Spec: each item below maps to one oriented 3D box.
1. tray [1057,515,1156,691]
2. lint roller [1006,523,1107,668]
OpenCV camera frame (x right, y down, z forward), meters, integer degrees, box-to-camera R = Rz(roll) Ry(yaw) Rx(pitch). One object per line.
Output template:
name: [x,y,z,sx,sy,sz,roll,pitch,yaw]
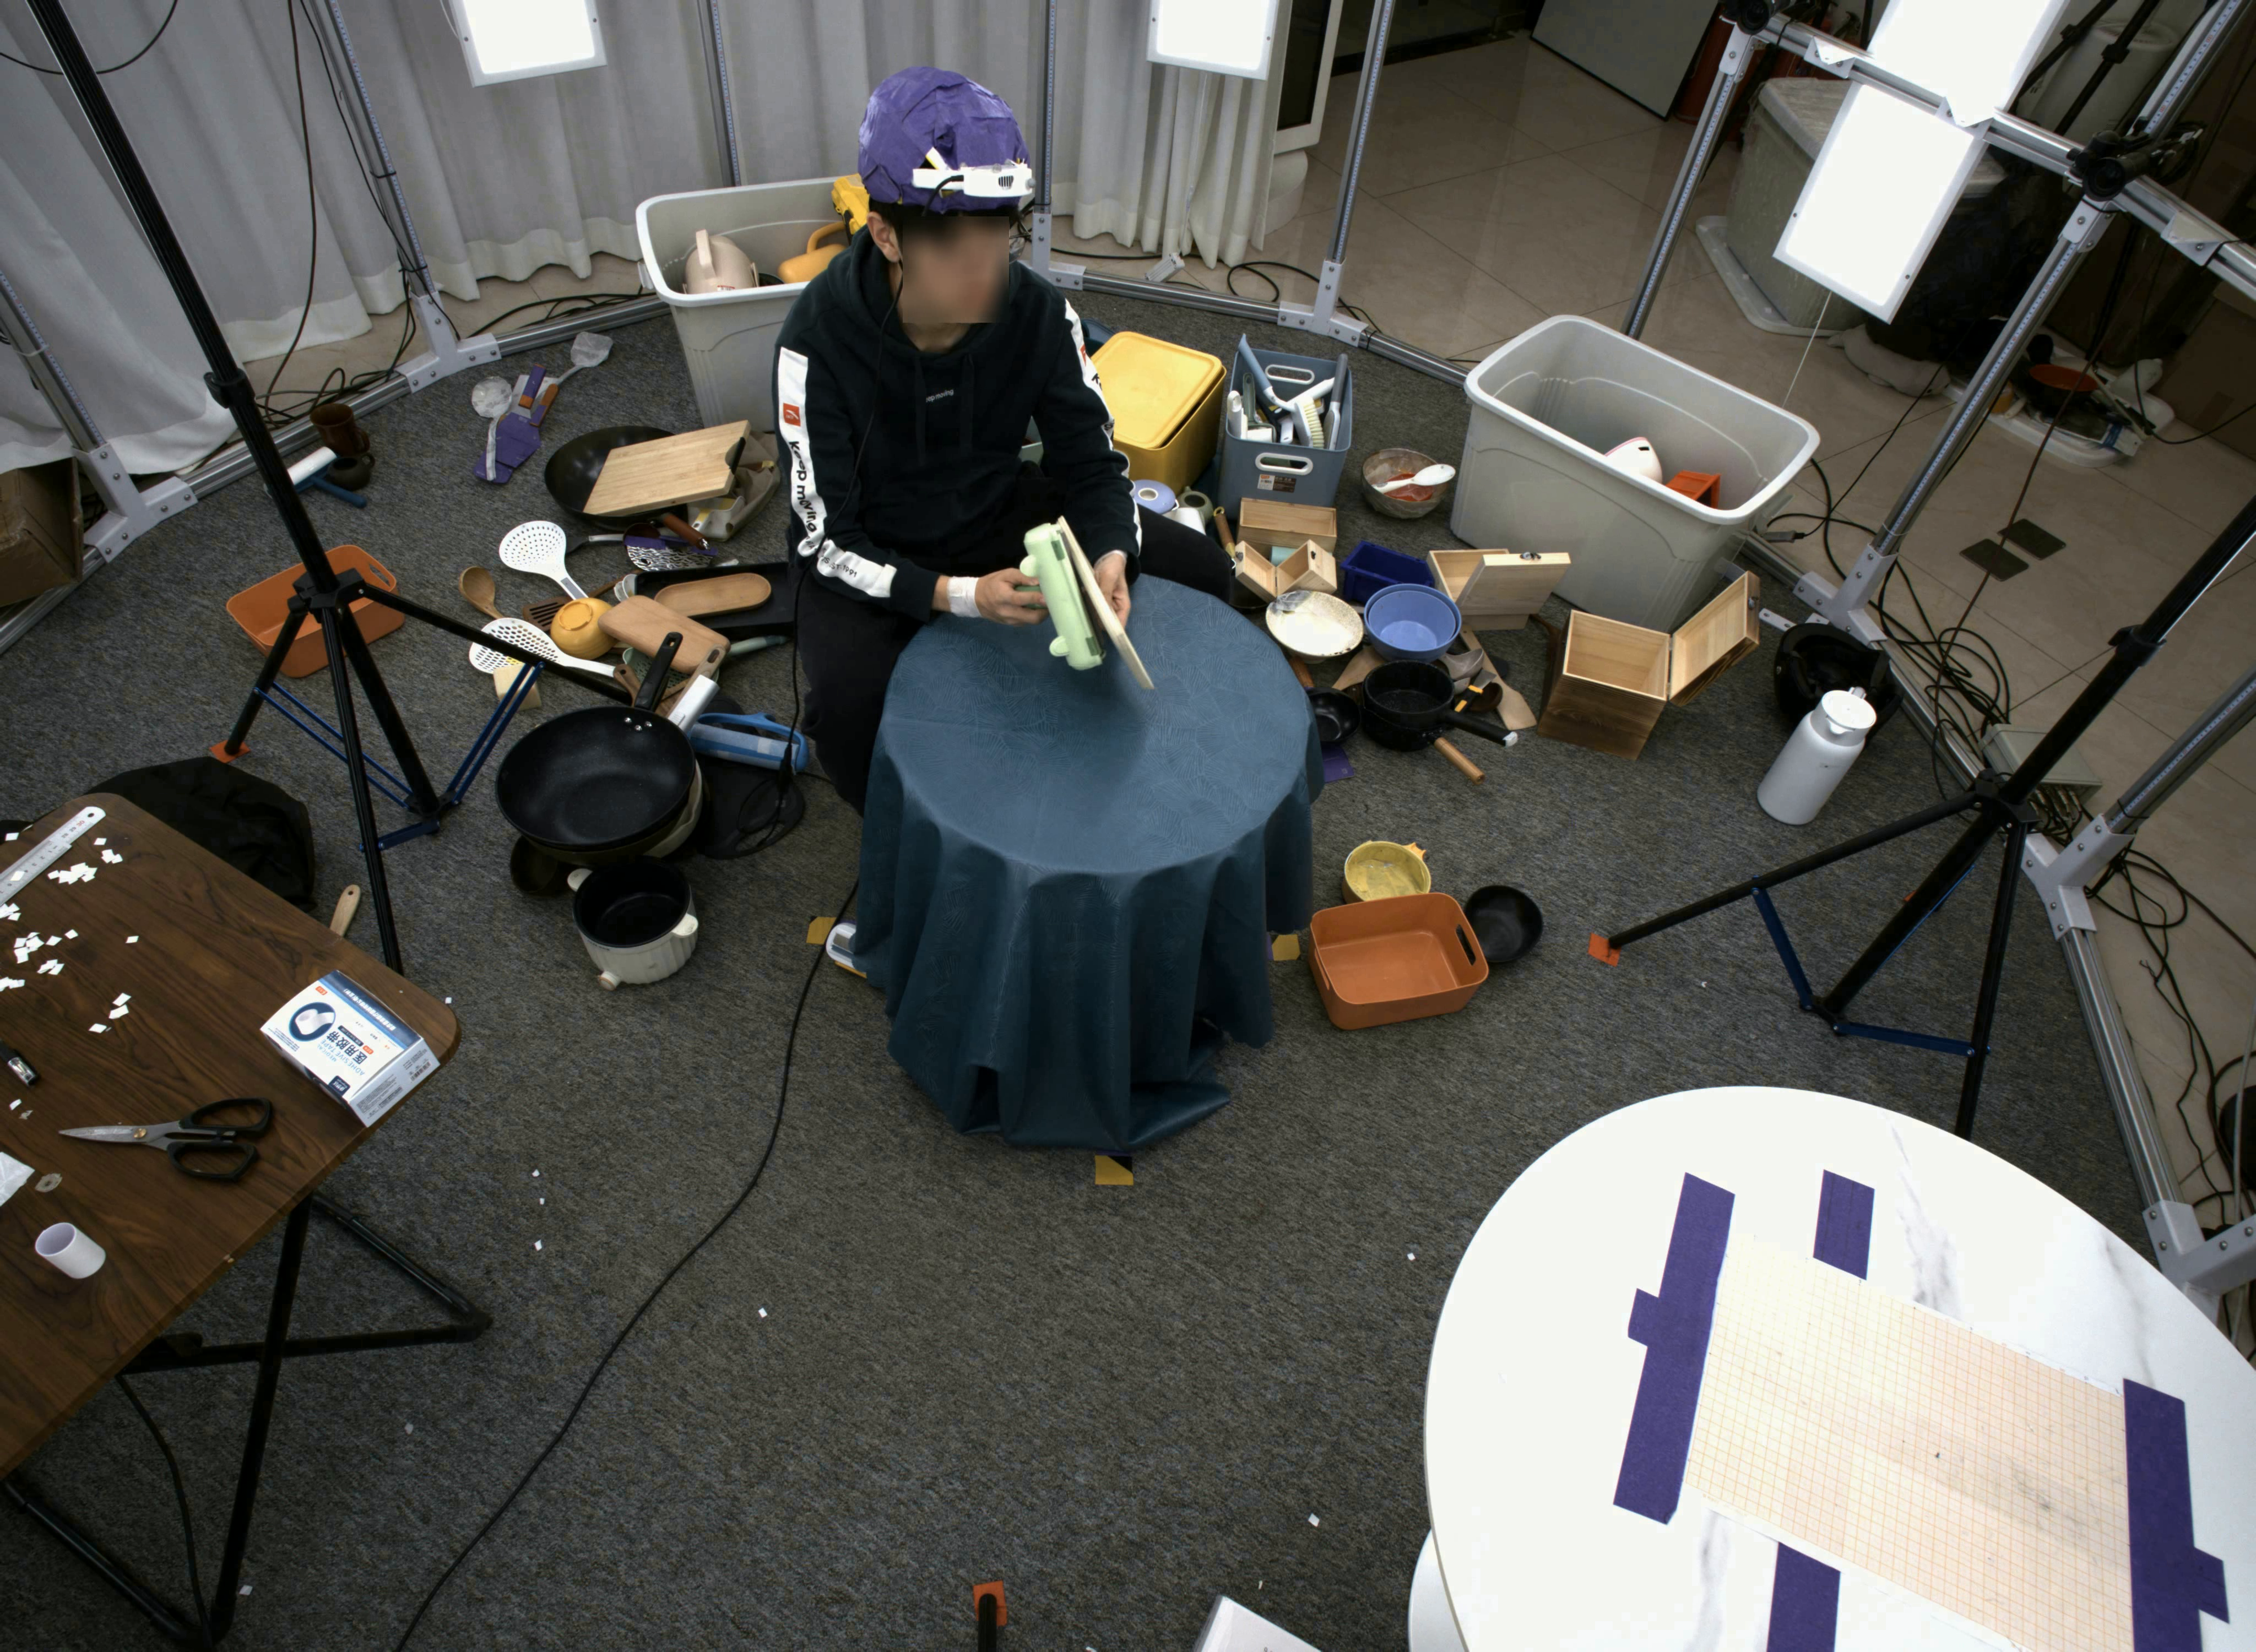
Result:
tray: [-0.031,-0.303,1.764,0.017,0.168,0.245,-28,61,5]
lint roller: [-0.126,-0.308,1.765,0.184,0.195,0.083,3,32,47]
